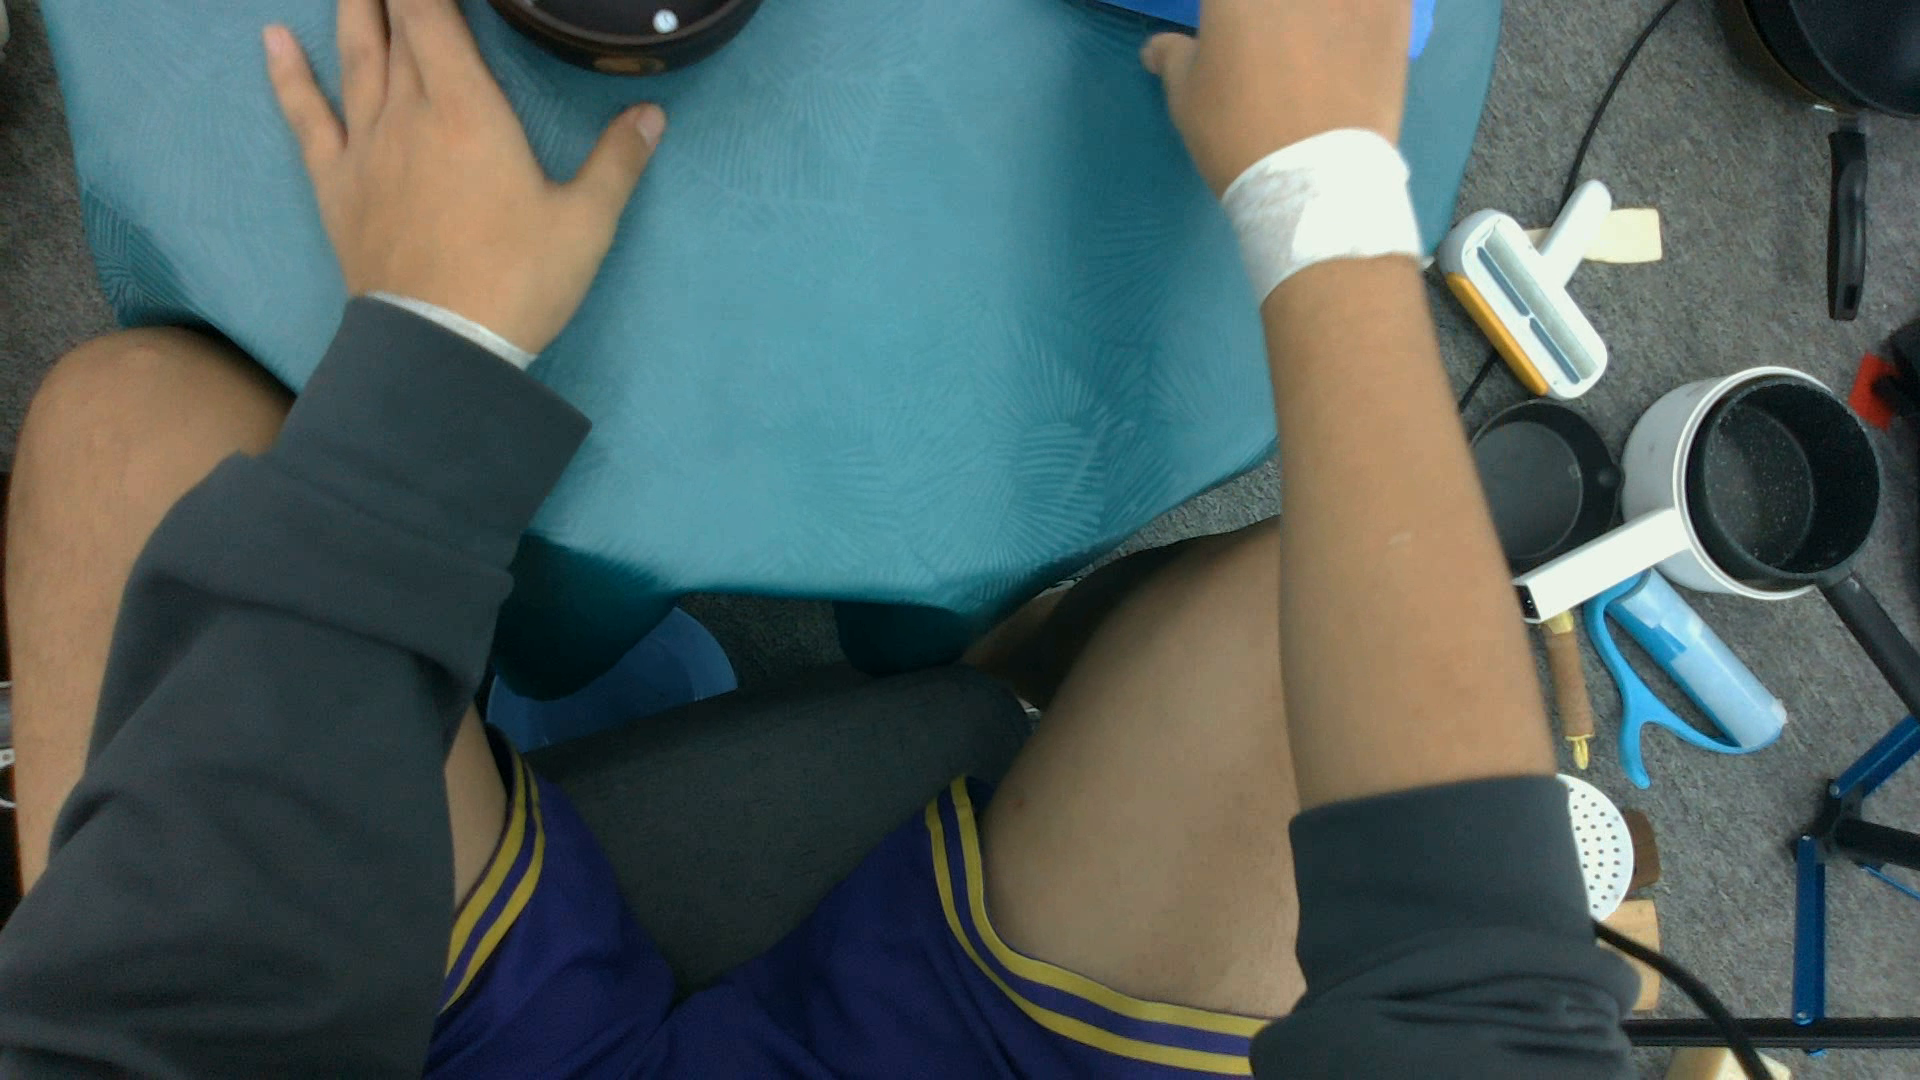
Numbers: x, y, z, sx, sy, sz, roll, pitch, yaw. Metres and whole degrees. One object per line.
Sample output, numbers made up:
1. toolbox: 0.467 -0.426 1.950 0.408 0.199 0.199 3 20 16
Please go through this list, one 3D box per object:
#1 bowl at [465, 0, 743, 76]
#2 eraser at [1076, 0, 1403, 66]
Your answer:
1. bowl: -0.131 -0.226 0.499 0.118 0.070 0.118 0 91 -15
2. eraser: 0.111 -0.244 0.573 0.162 0.047 0.054 8 85 -13
